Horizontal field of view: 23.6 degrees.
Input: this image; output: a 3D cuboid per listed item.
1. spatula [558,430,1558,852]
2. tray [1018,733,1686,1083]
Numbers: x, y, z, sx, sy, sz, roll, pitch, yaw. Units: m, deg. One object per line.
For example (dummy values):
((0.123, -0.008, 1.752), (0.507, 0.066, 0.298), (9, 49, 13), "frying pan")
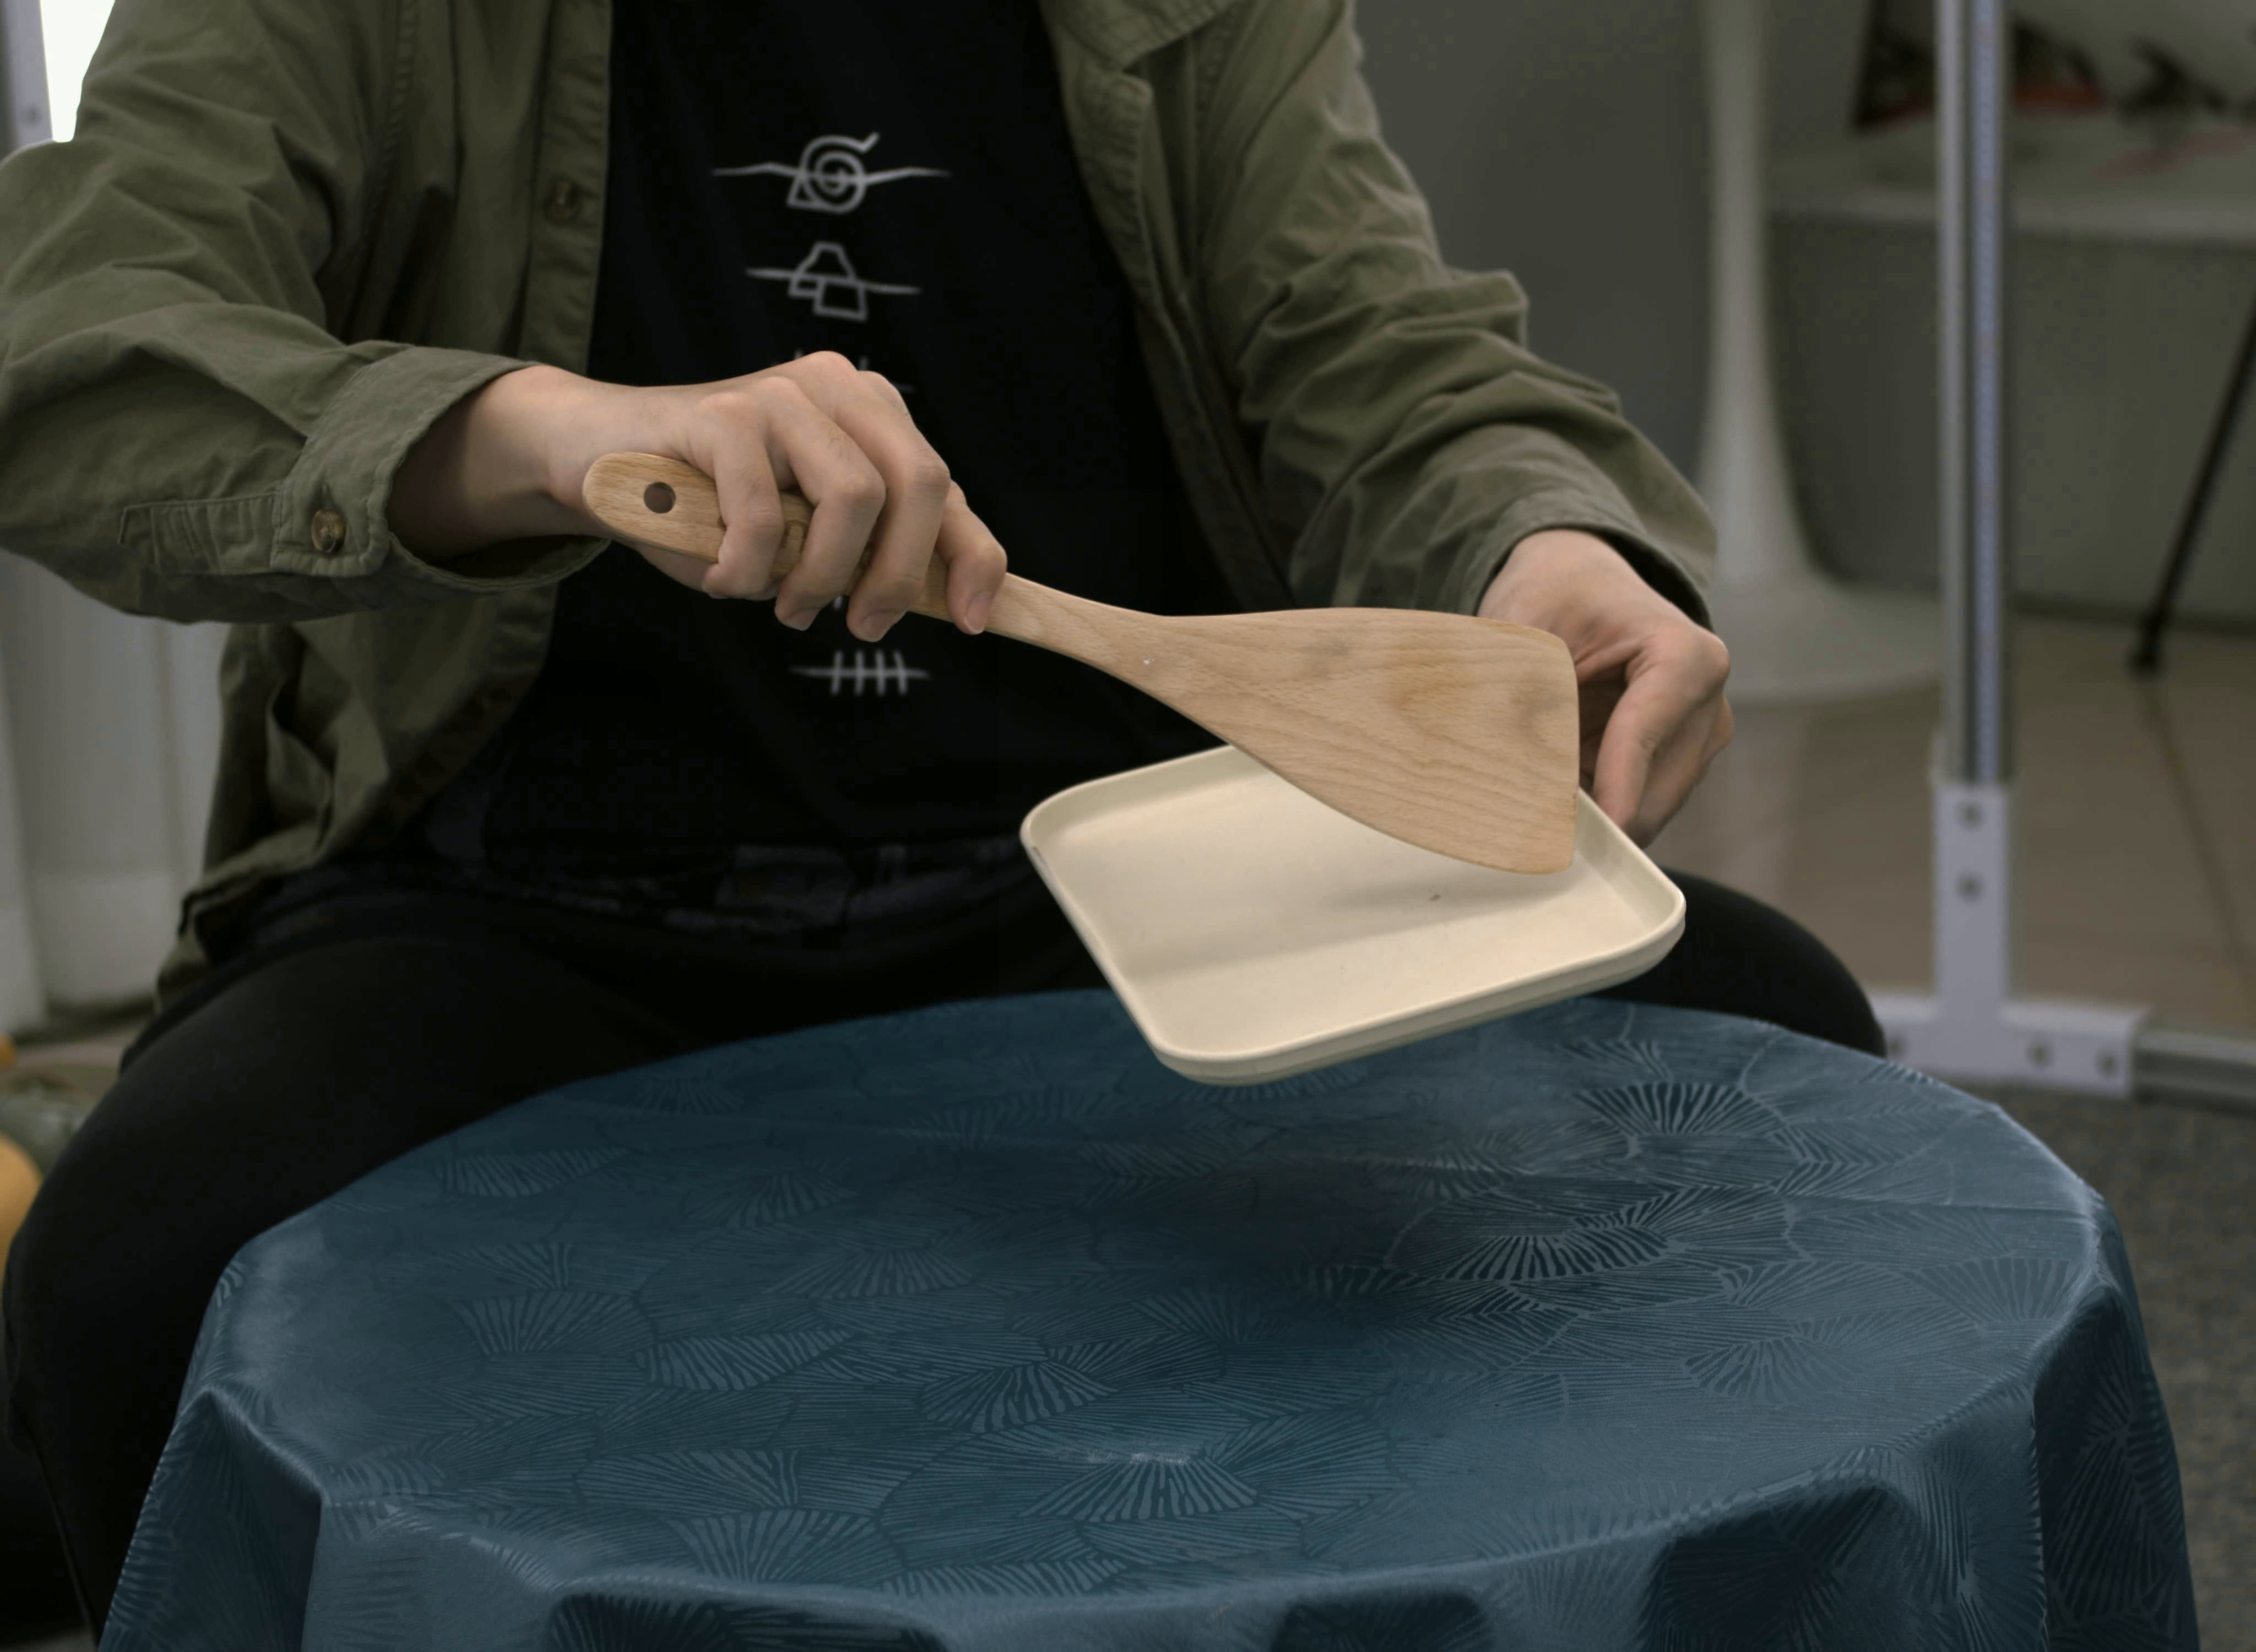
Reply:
((-0.016, -0.068, 1.643), (0.322, 0.081, 0.016), (16, -16, -12), "spatula")
((0.067, 0.018, 1.689), (0.168, 0.017, 0.241), (-15, 22, -8), "tray")
